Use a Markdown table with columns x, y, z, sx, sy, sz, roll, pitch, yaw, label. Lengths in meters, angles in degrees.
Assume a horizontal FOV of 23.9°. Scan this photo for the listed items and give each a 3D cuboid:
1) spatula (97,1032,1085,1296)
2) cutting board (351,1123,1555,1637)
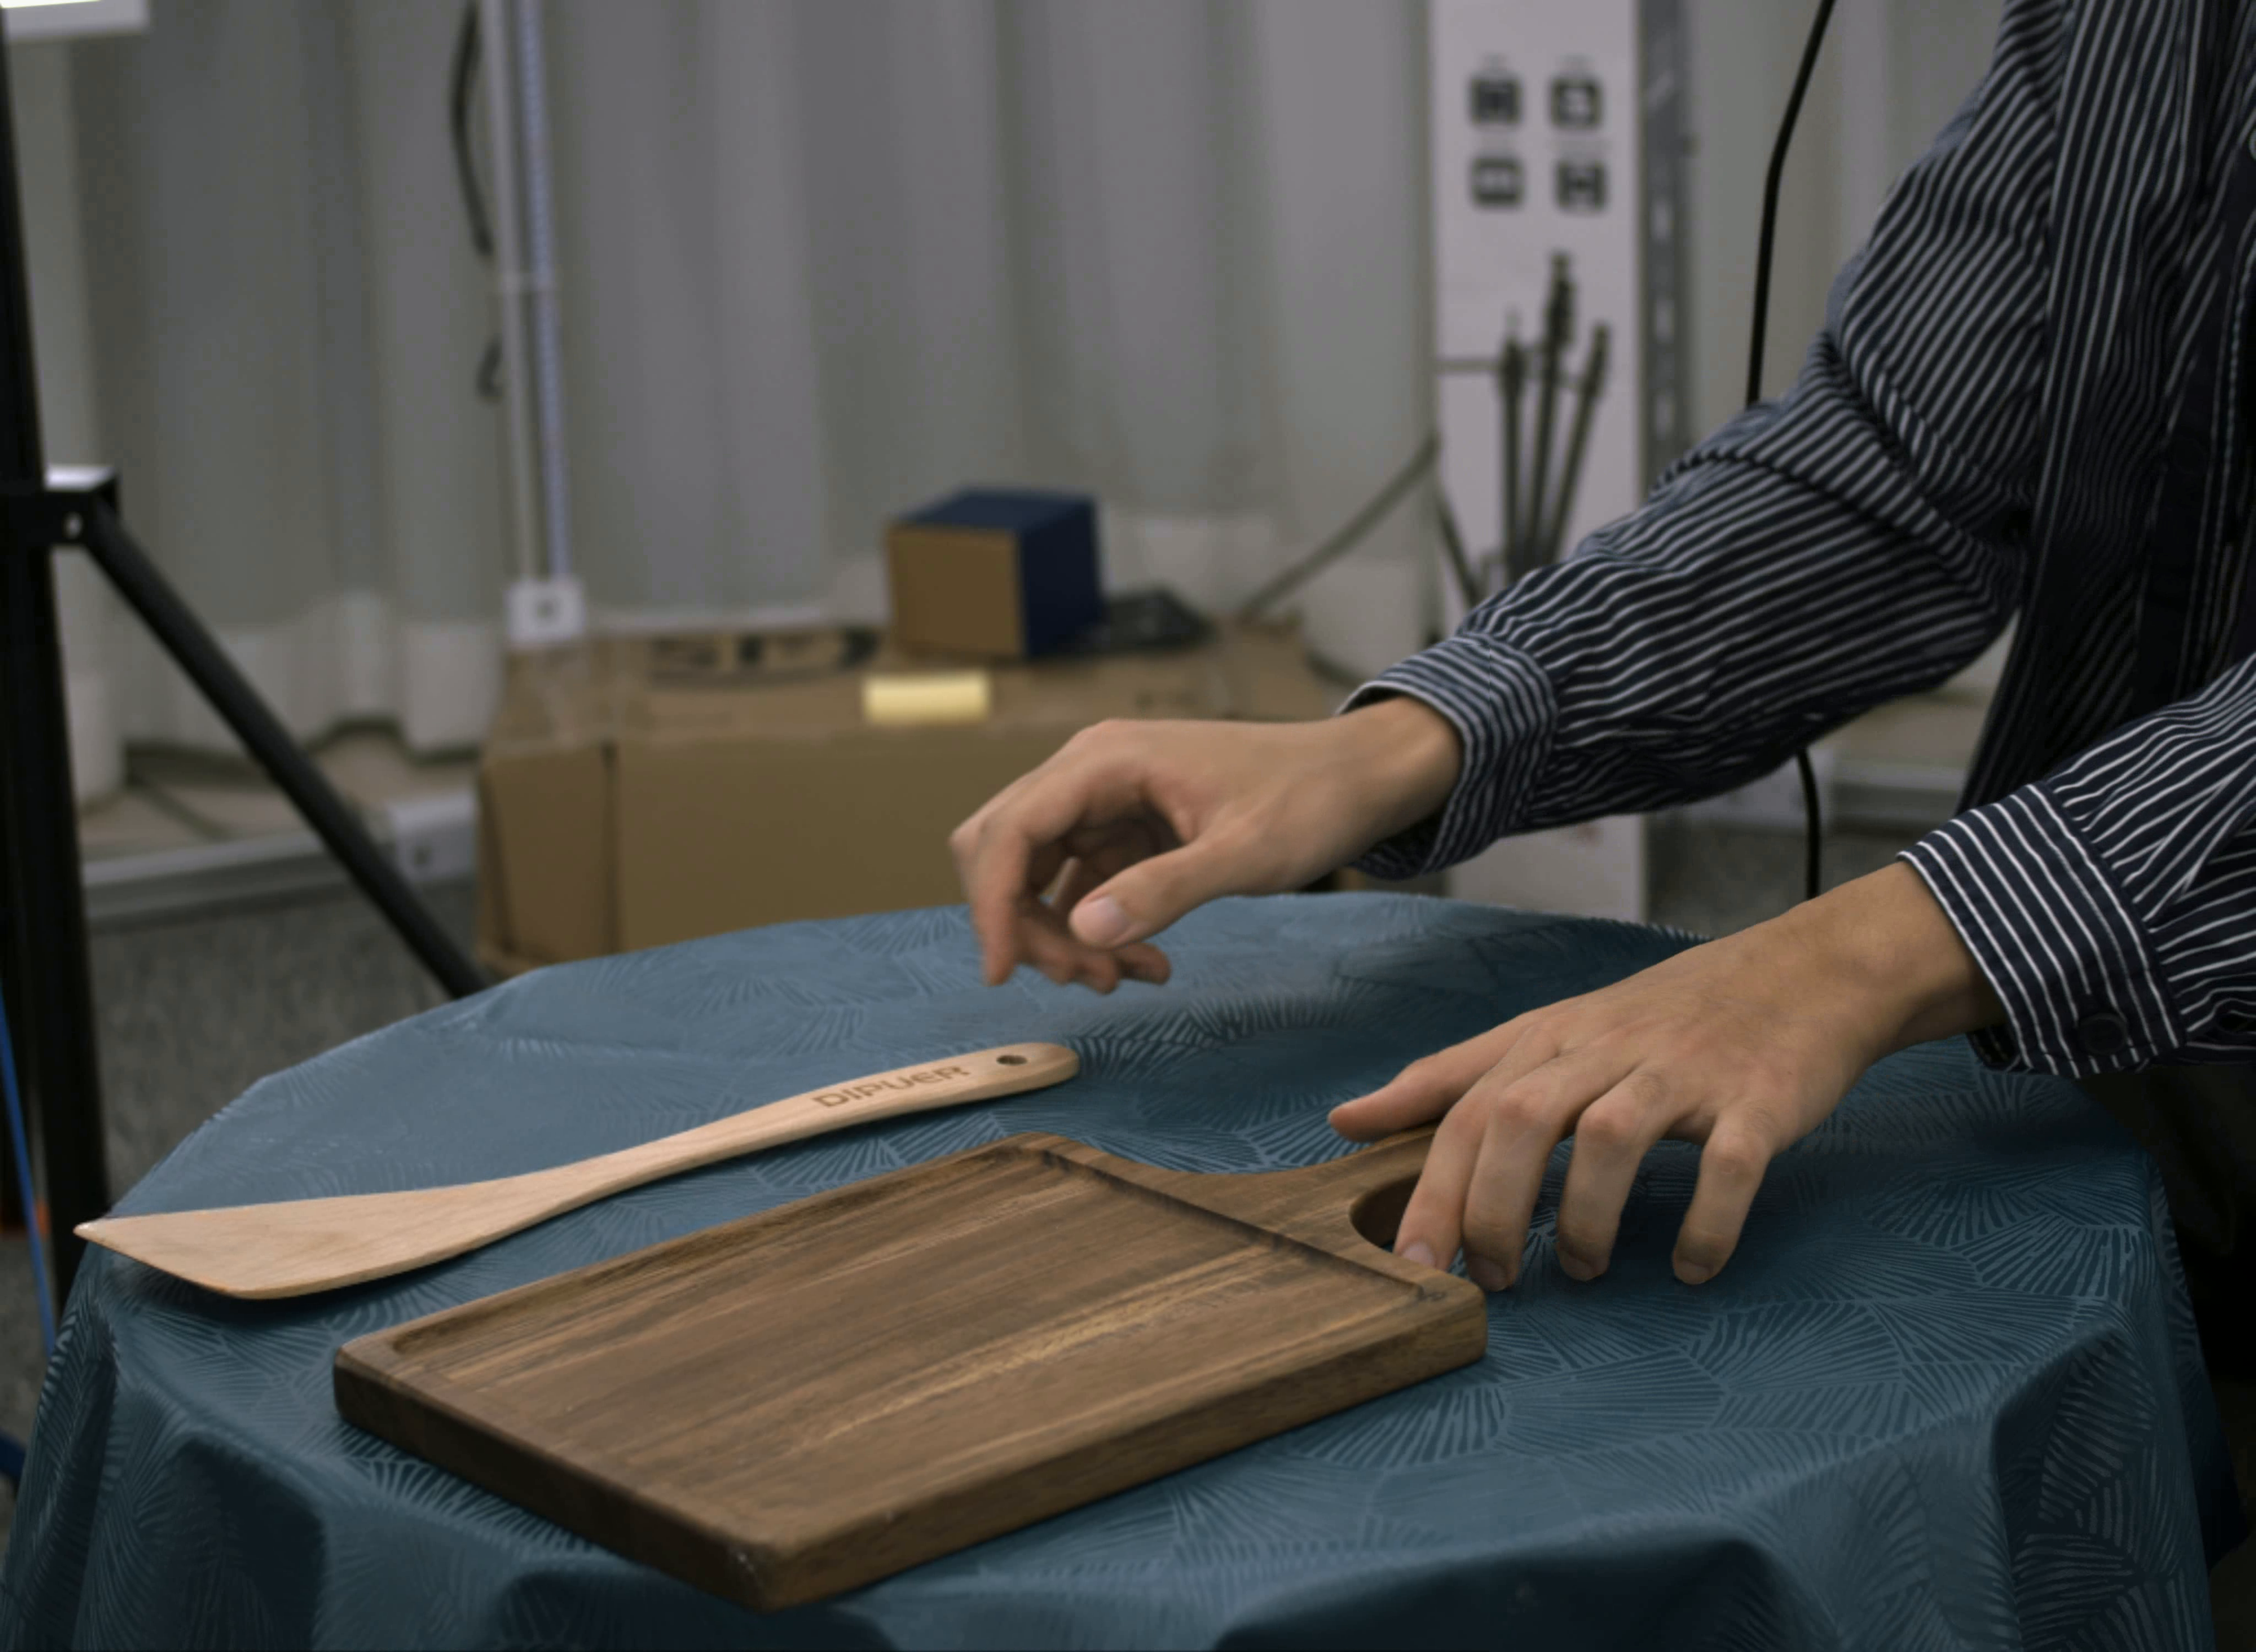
| x | y | z | sx | sy | sz | roll | pitch | yaw | label |
| --- | --- | --- | --- | --- | --- | --- | --- | --- | --- |
| -0.145 | 0.097 | 1.592 | 0.320 | 0.016 | 0.082 | -14 | 20 | -33 | spatula |
| -0.013 | 0.133 | 1.439 | 0.344 | 0.023 | 0.206 | -15 | 20 | -36 | cutting board |
